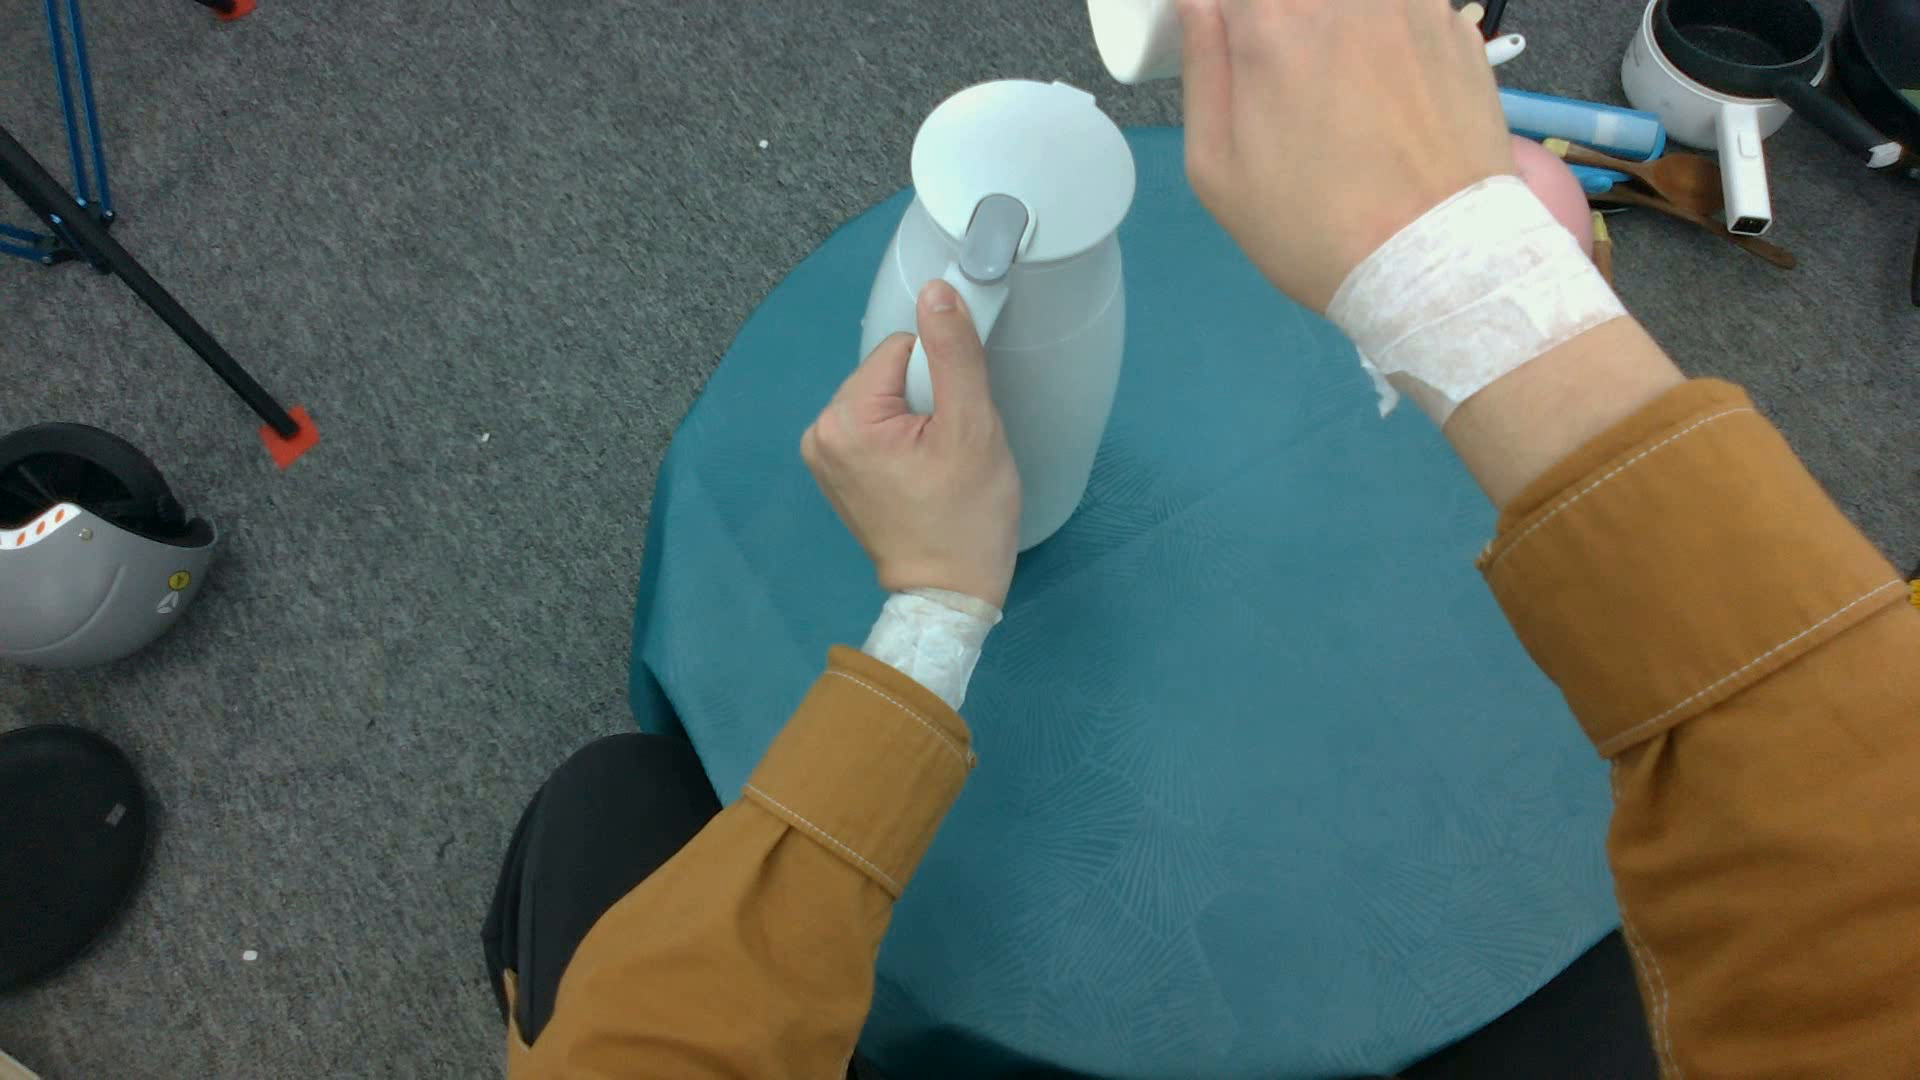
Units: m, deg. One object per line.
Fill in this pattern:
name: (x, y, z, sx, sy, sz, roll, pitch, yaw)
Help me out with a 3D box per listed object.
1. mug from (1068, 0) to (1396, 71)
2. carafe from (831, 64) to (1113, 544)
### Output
mug: (0.099, -0.203, 0.469, 0.102, 0.084, 0.118, -10, 47, -9)
carafe: (0.000, -0.092, 0.653, 0.132, 0.247, 0.168, 22, 65, 3)
